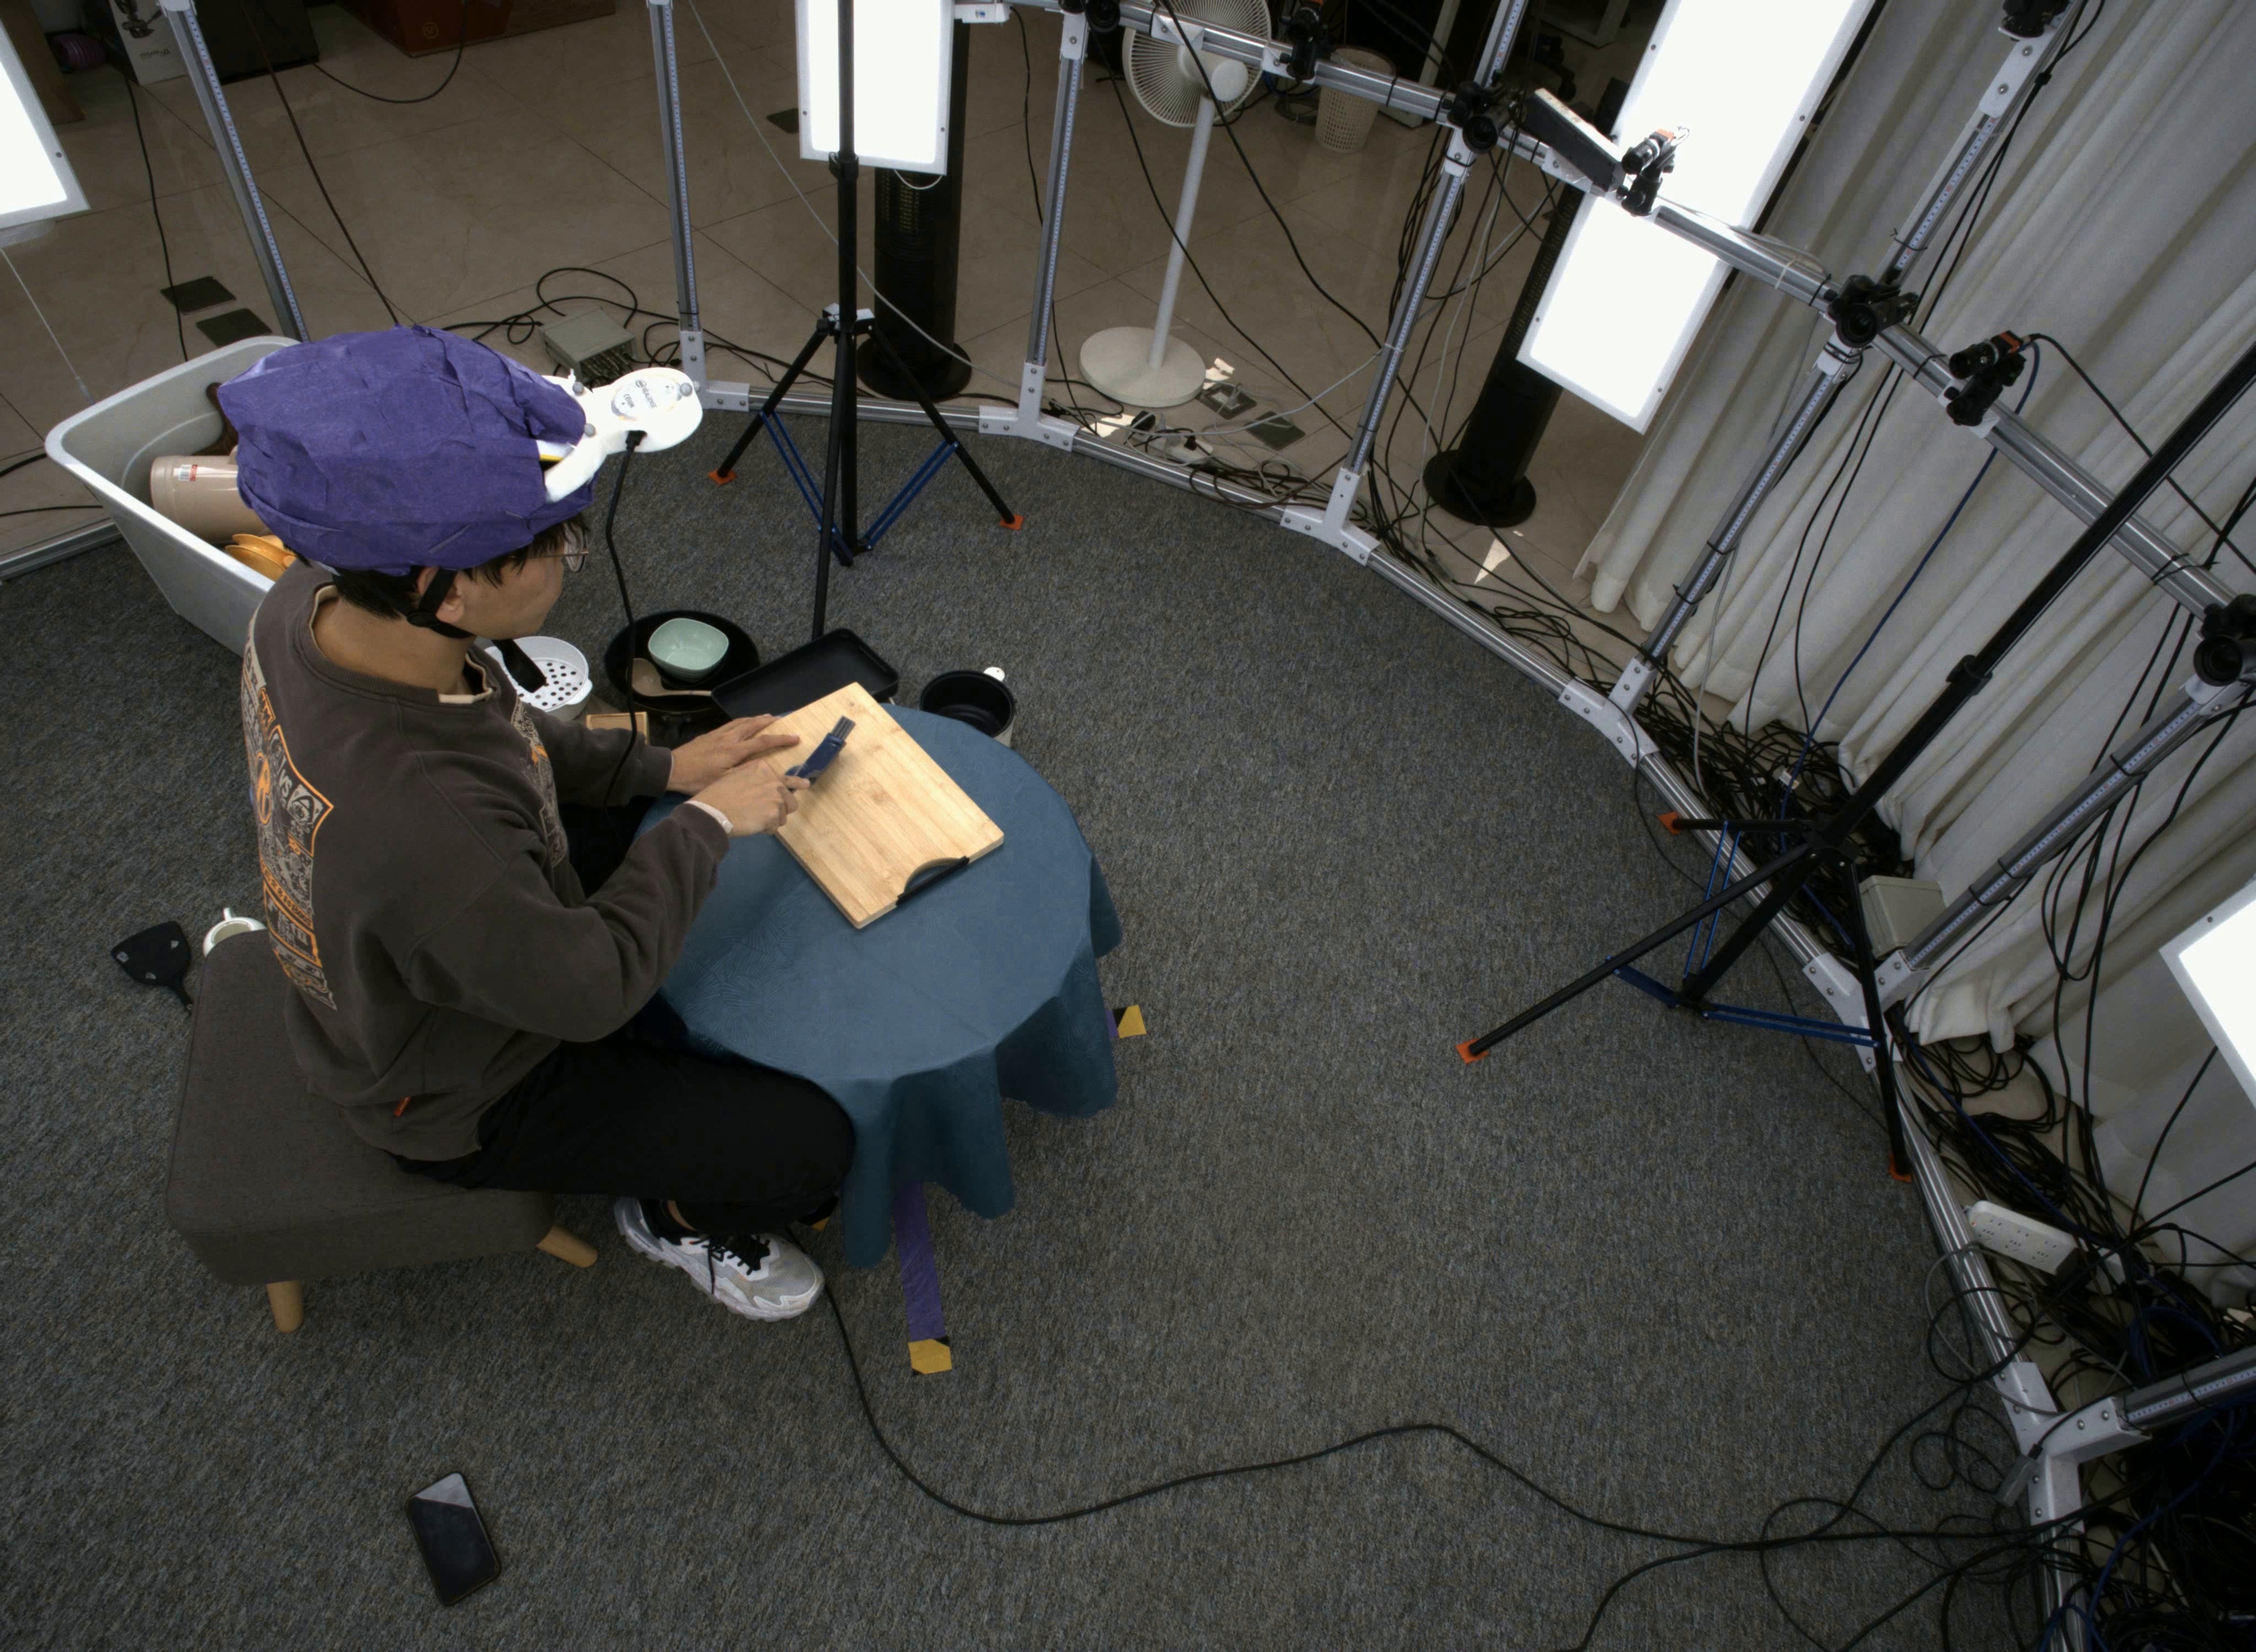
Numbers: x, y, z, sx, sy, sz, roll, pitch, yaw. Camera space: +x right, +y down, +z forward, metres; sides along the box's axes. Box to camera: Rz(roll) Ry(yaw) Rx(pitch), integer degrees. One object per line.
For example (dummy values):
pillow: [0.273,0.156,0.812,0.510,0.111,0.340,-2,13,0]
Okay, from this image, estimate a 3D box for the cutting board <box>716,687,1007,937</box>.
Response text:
cutting board: [-0.363,-0.033,1.767,0.251,0.024,0.340,-35,68,-31]

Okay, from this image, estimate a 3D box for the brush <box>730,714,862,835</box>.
brush: [-0.421,-0.069,1.658,0.033,0.096,0.271,32,23,-1]
